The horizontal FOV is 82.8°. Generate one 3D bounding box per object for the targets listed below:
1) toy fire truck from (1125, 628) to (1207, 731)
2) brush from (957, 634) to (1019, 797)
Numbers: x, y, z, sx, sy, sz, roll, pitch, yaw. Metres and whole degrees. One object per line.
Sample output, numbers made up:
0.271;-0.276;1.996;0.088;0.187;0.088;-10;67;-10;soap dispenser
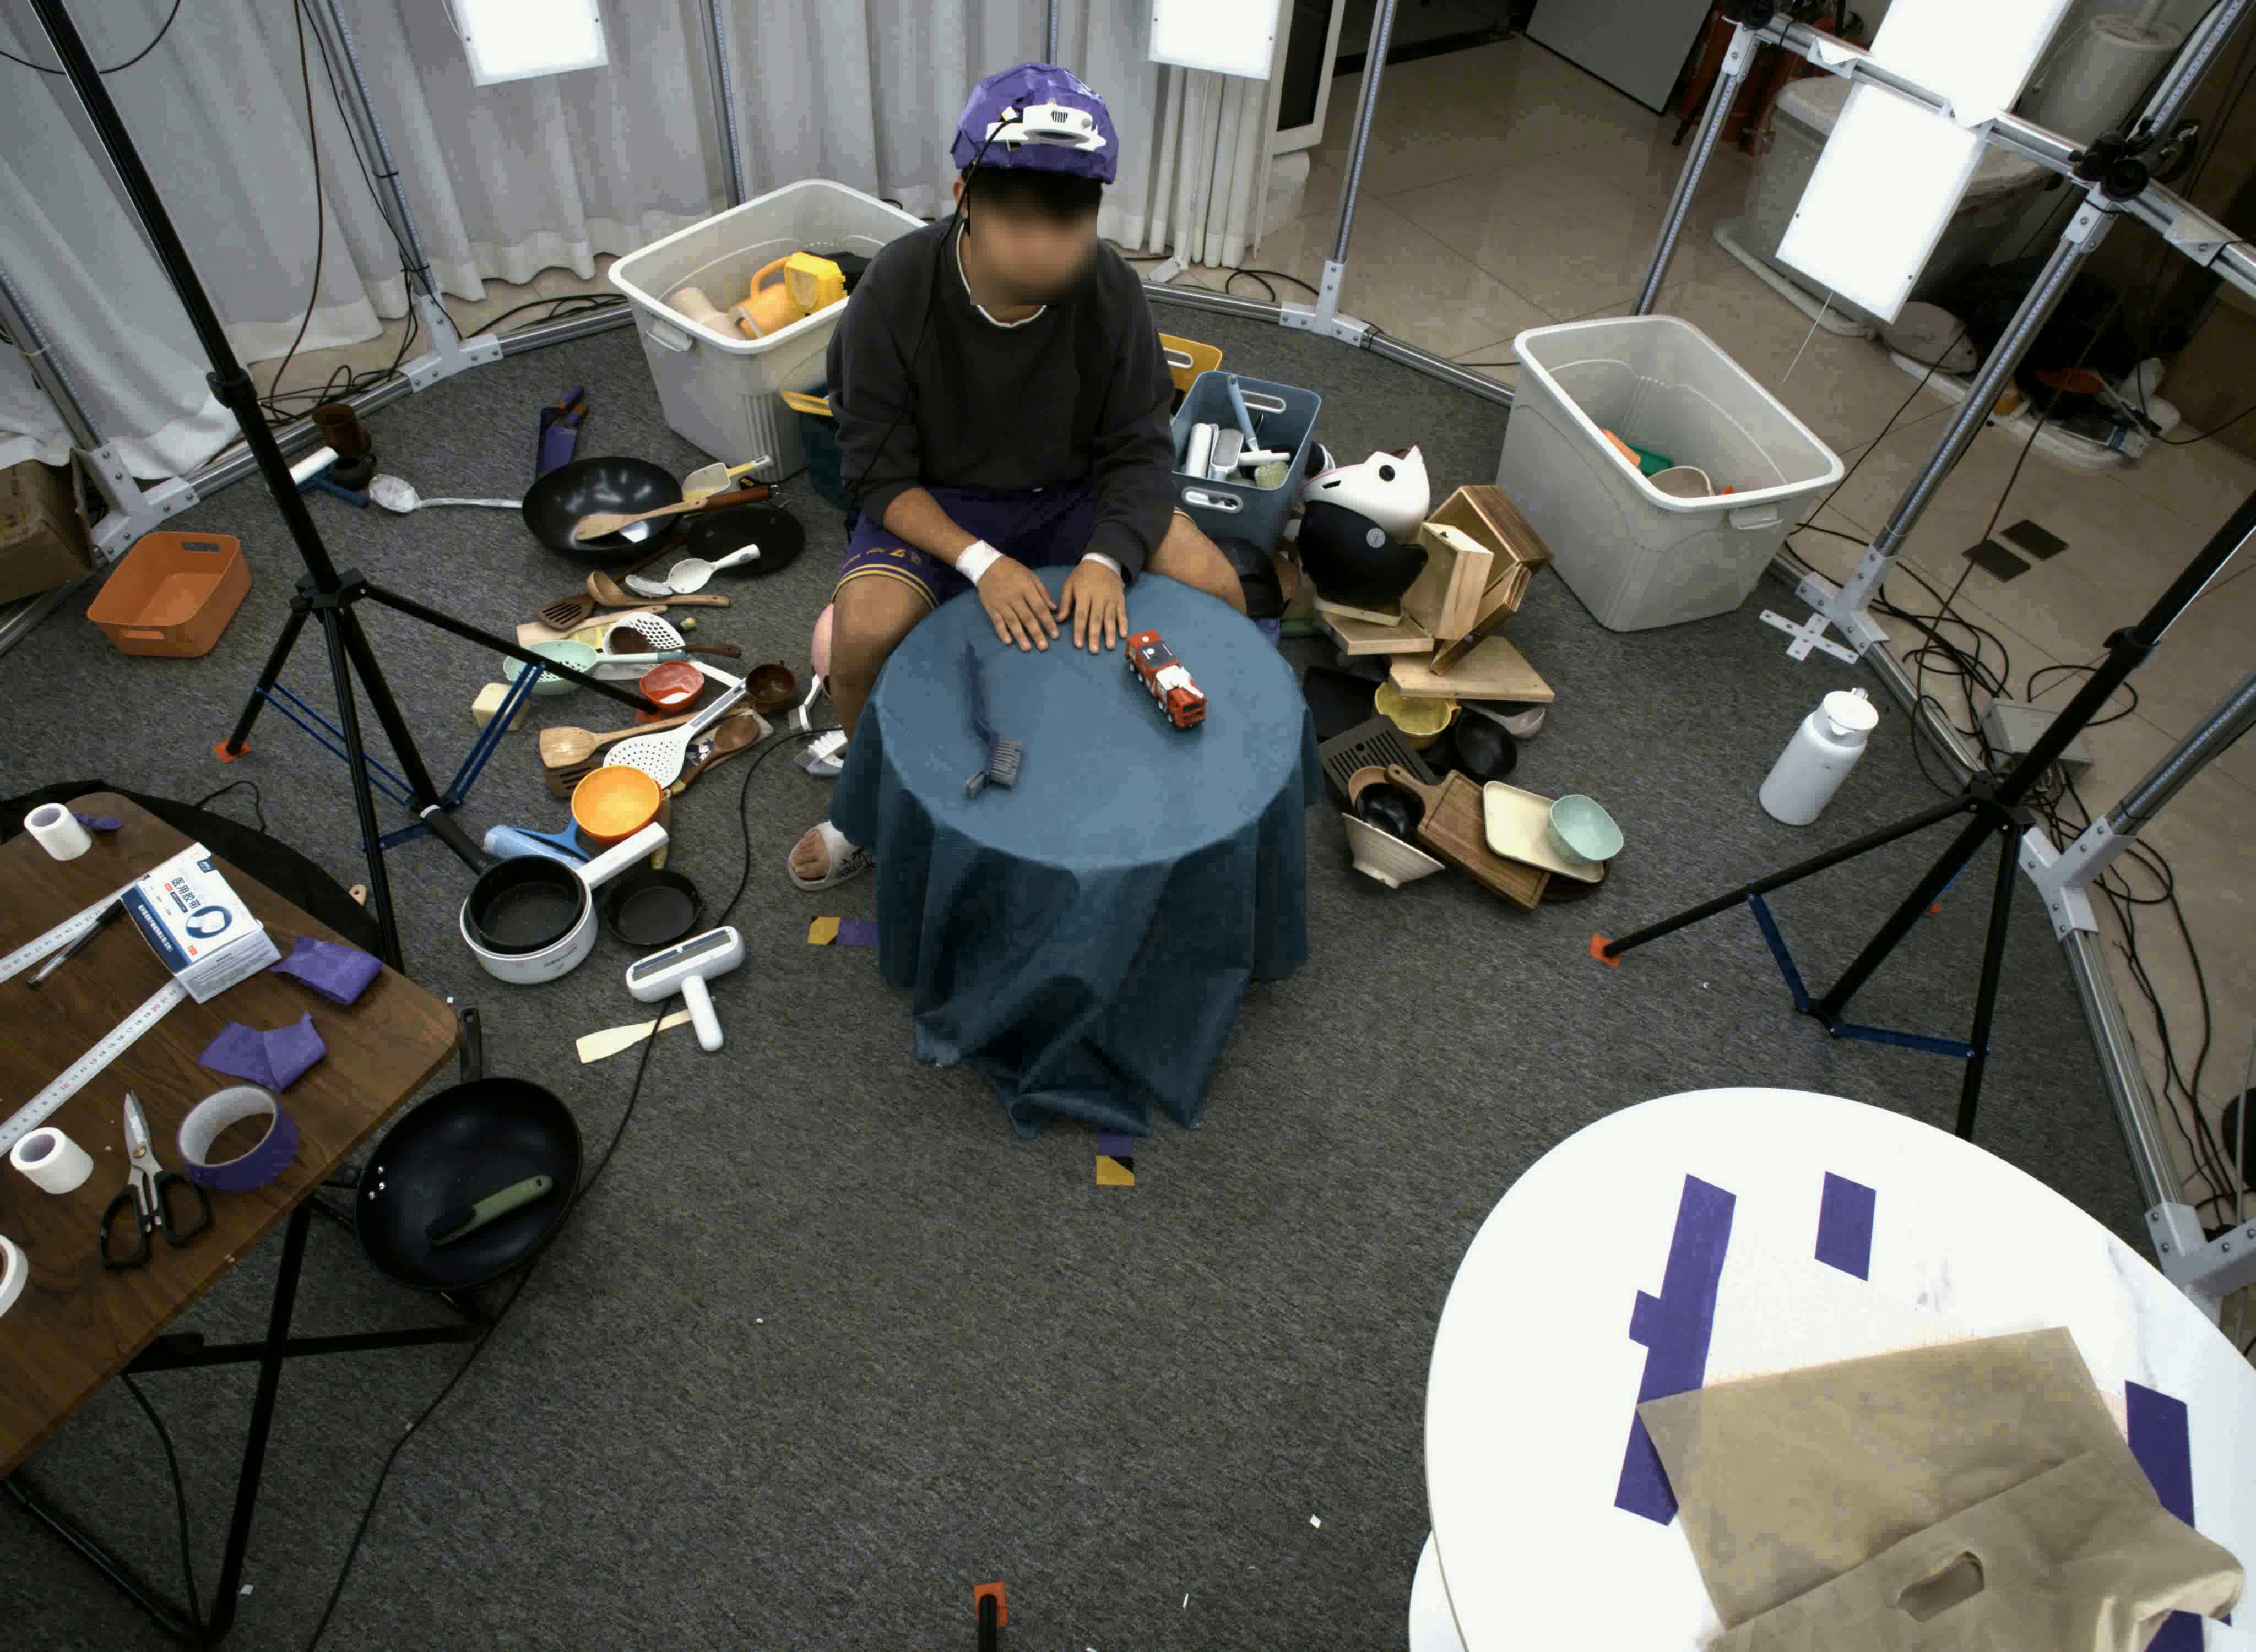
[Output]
0.054;-0.209;1.813;0.054;0.068;0.171;-20;53;-20;toy fire truck
-0.213;-0.157;1.767;0.095;0.033;0.280;-11;51;-12;brush
